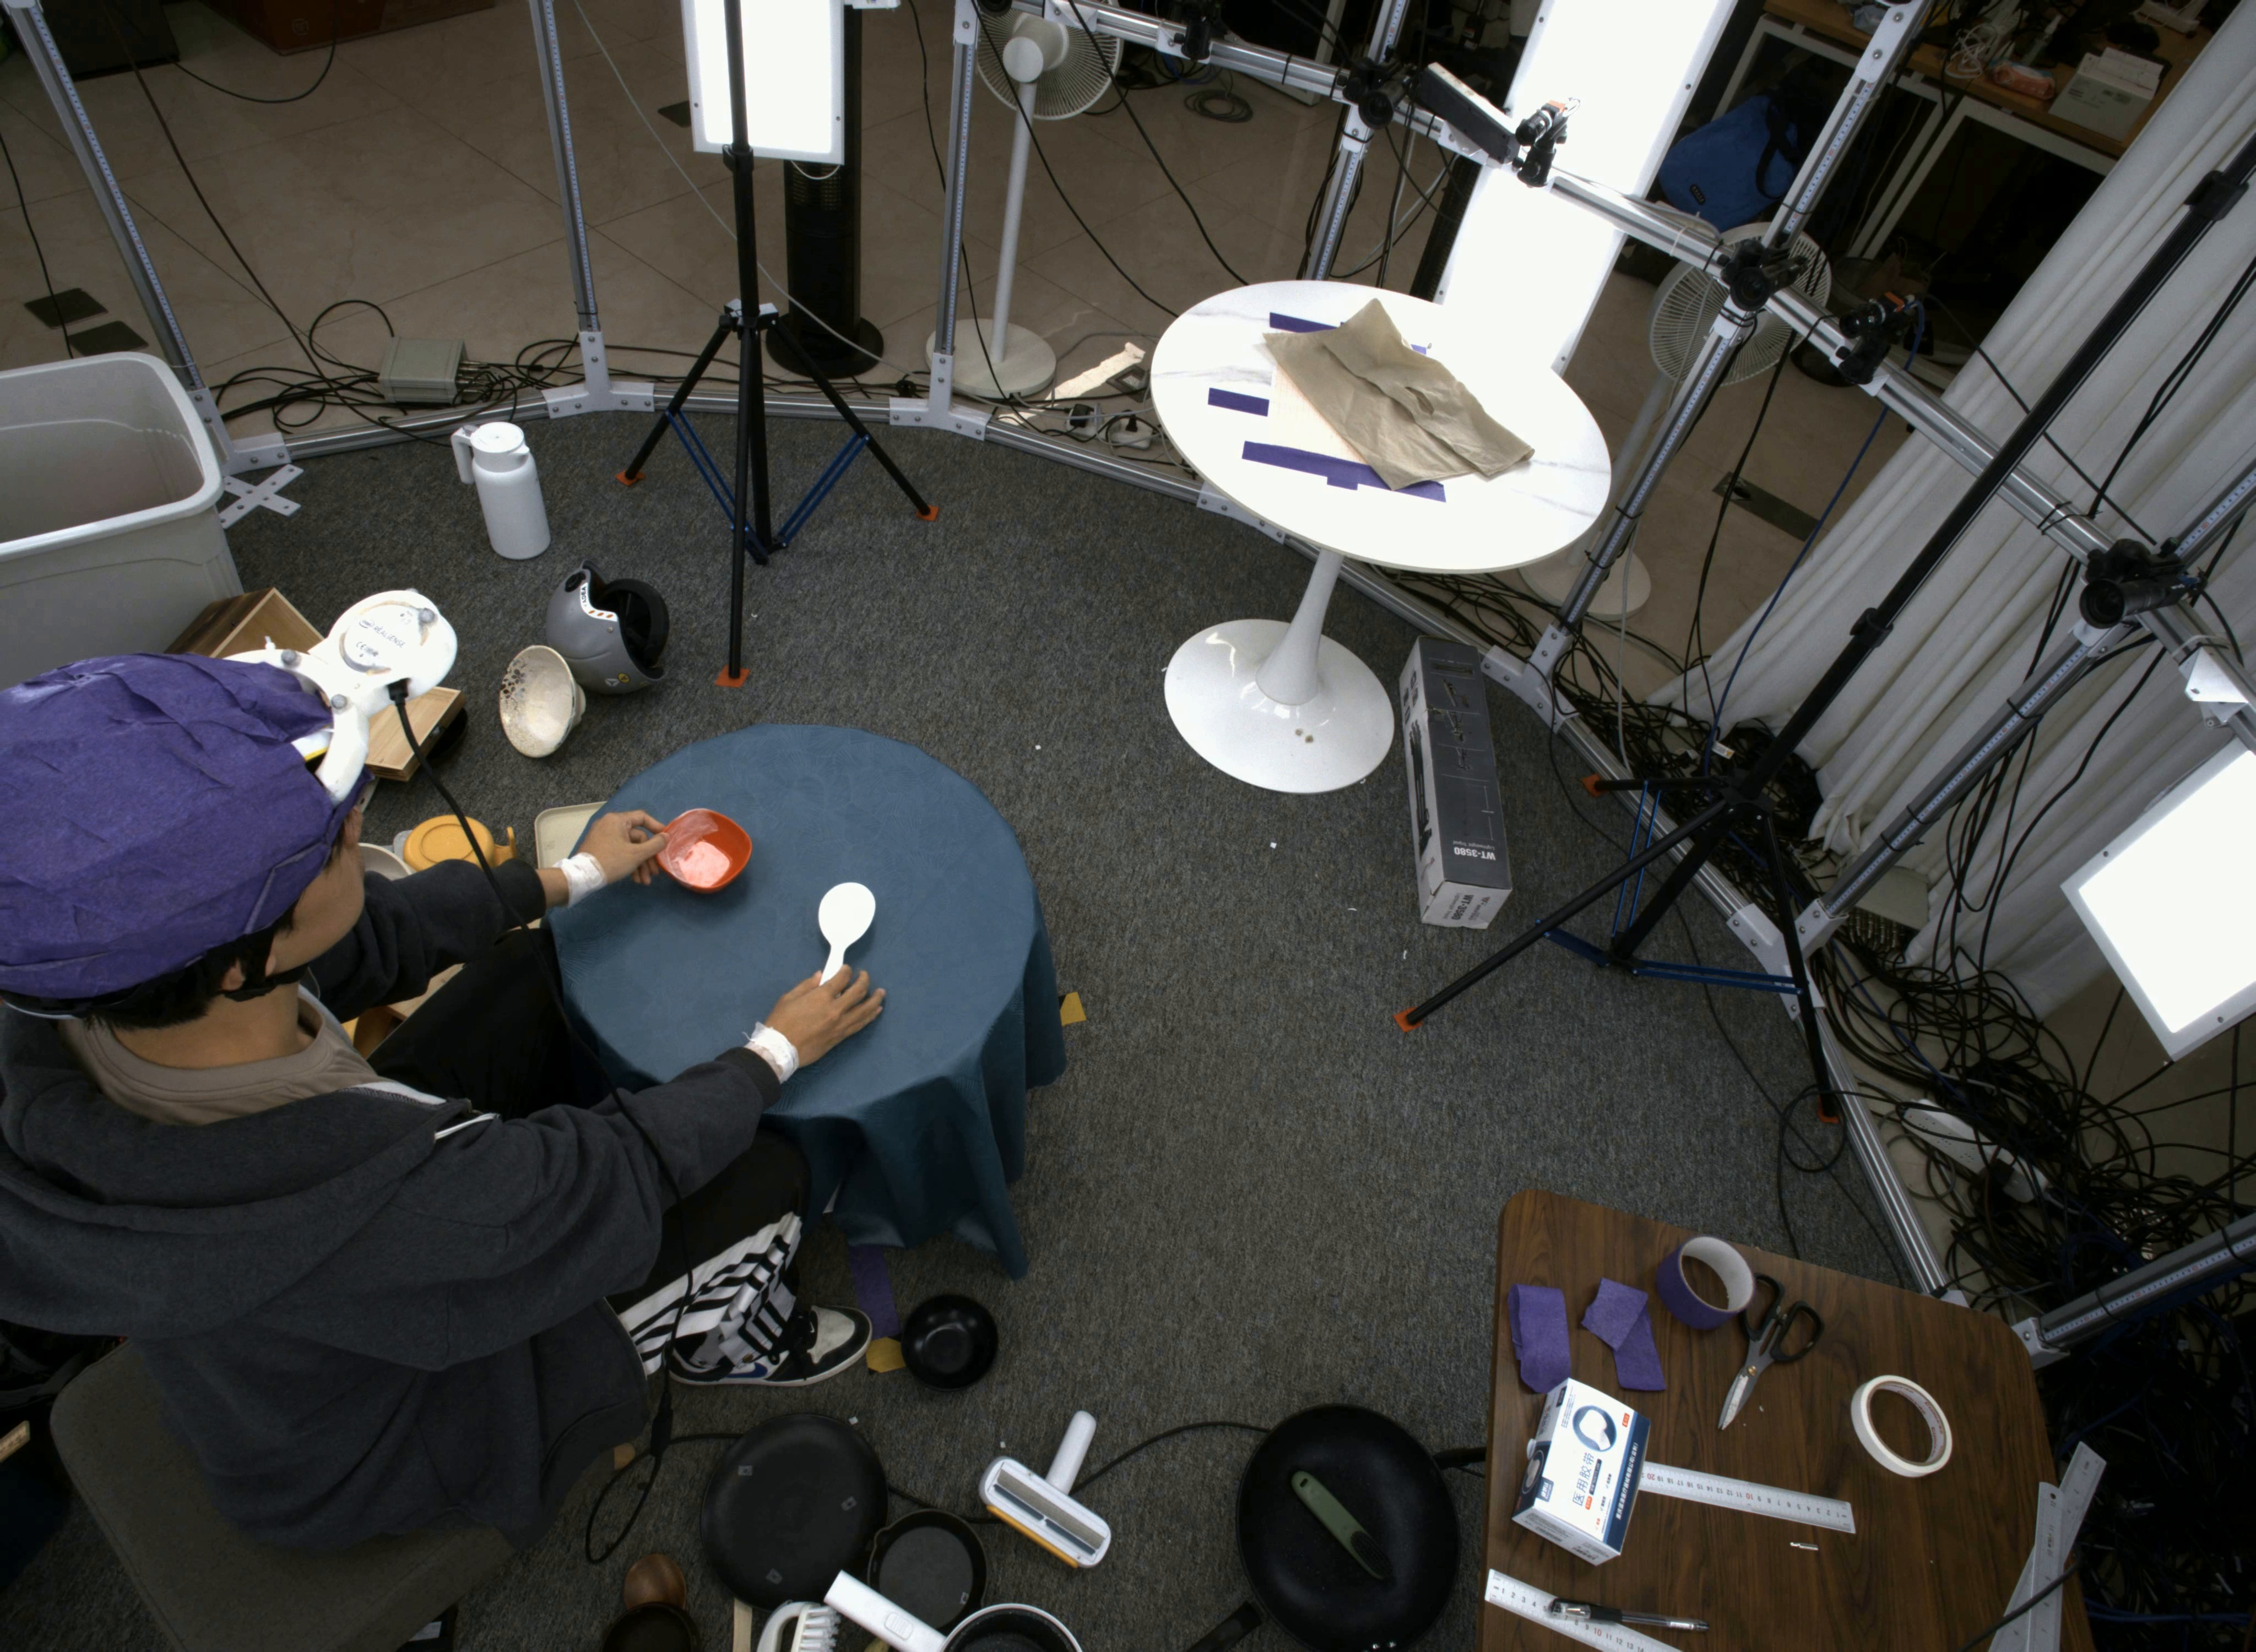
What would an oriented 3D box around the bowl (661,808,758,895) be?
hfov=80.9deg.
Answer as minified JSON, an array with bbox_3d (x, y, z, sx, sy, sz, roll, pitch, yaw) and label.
[{"bbox_3d":[-0.530,0.039,1.633,0.119,0.052,0.117,12,54,-15],"label":"bowl"}]

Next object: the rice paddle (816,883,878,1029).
[{"bbox_3d":[-0.352,0.150,1.596,0.068,0.030,0.201,7,53,-6],"label":"rice paddle"}]
